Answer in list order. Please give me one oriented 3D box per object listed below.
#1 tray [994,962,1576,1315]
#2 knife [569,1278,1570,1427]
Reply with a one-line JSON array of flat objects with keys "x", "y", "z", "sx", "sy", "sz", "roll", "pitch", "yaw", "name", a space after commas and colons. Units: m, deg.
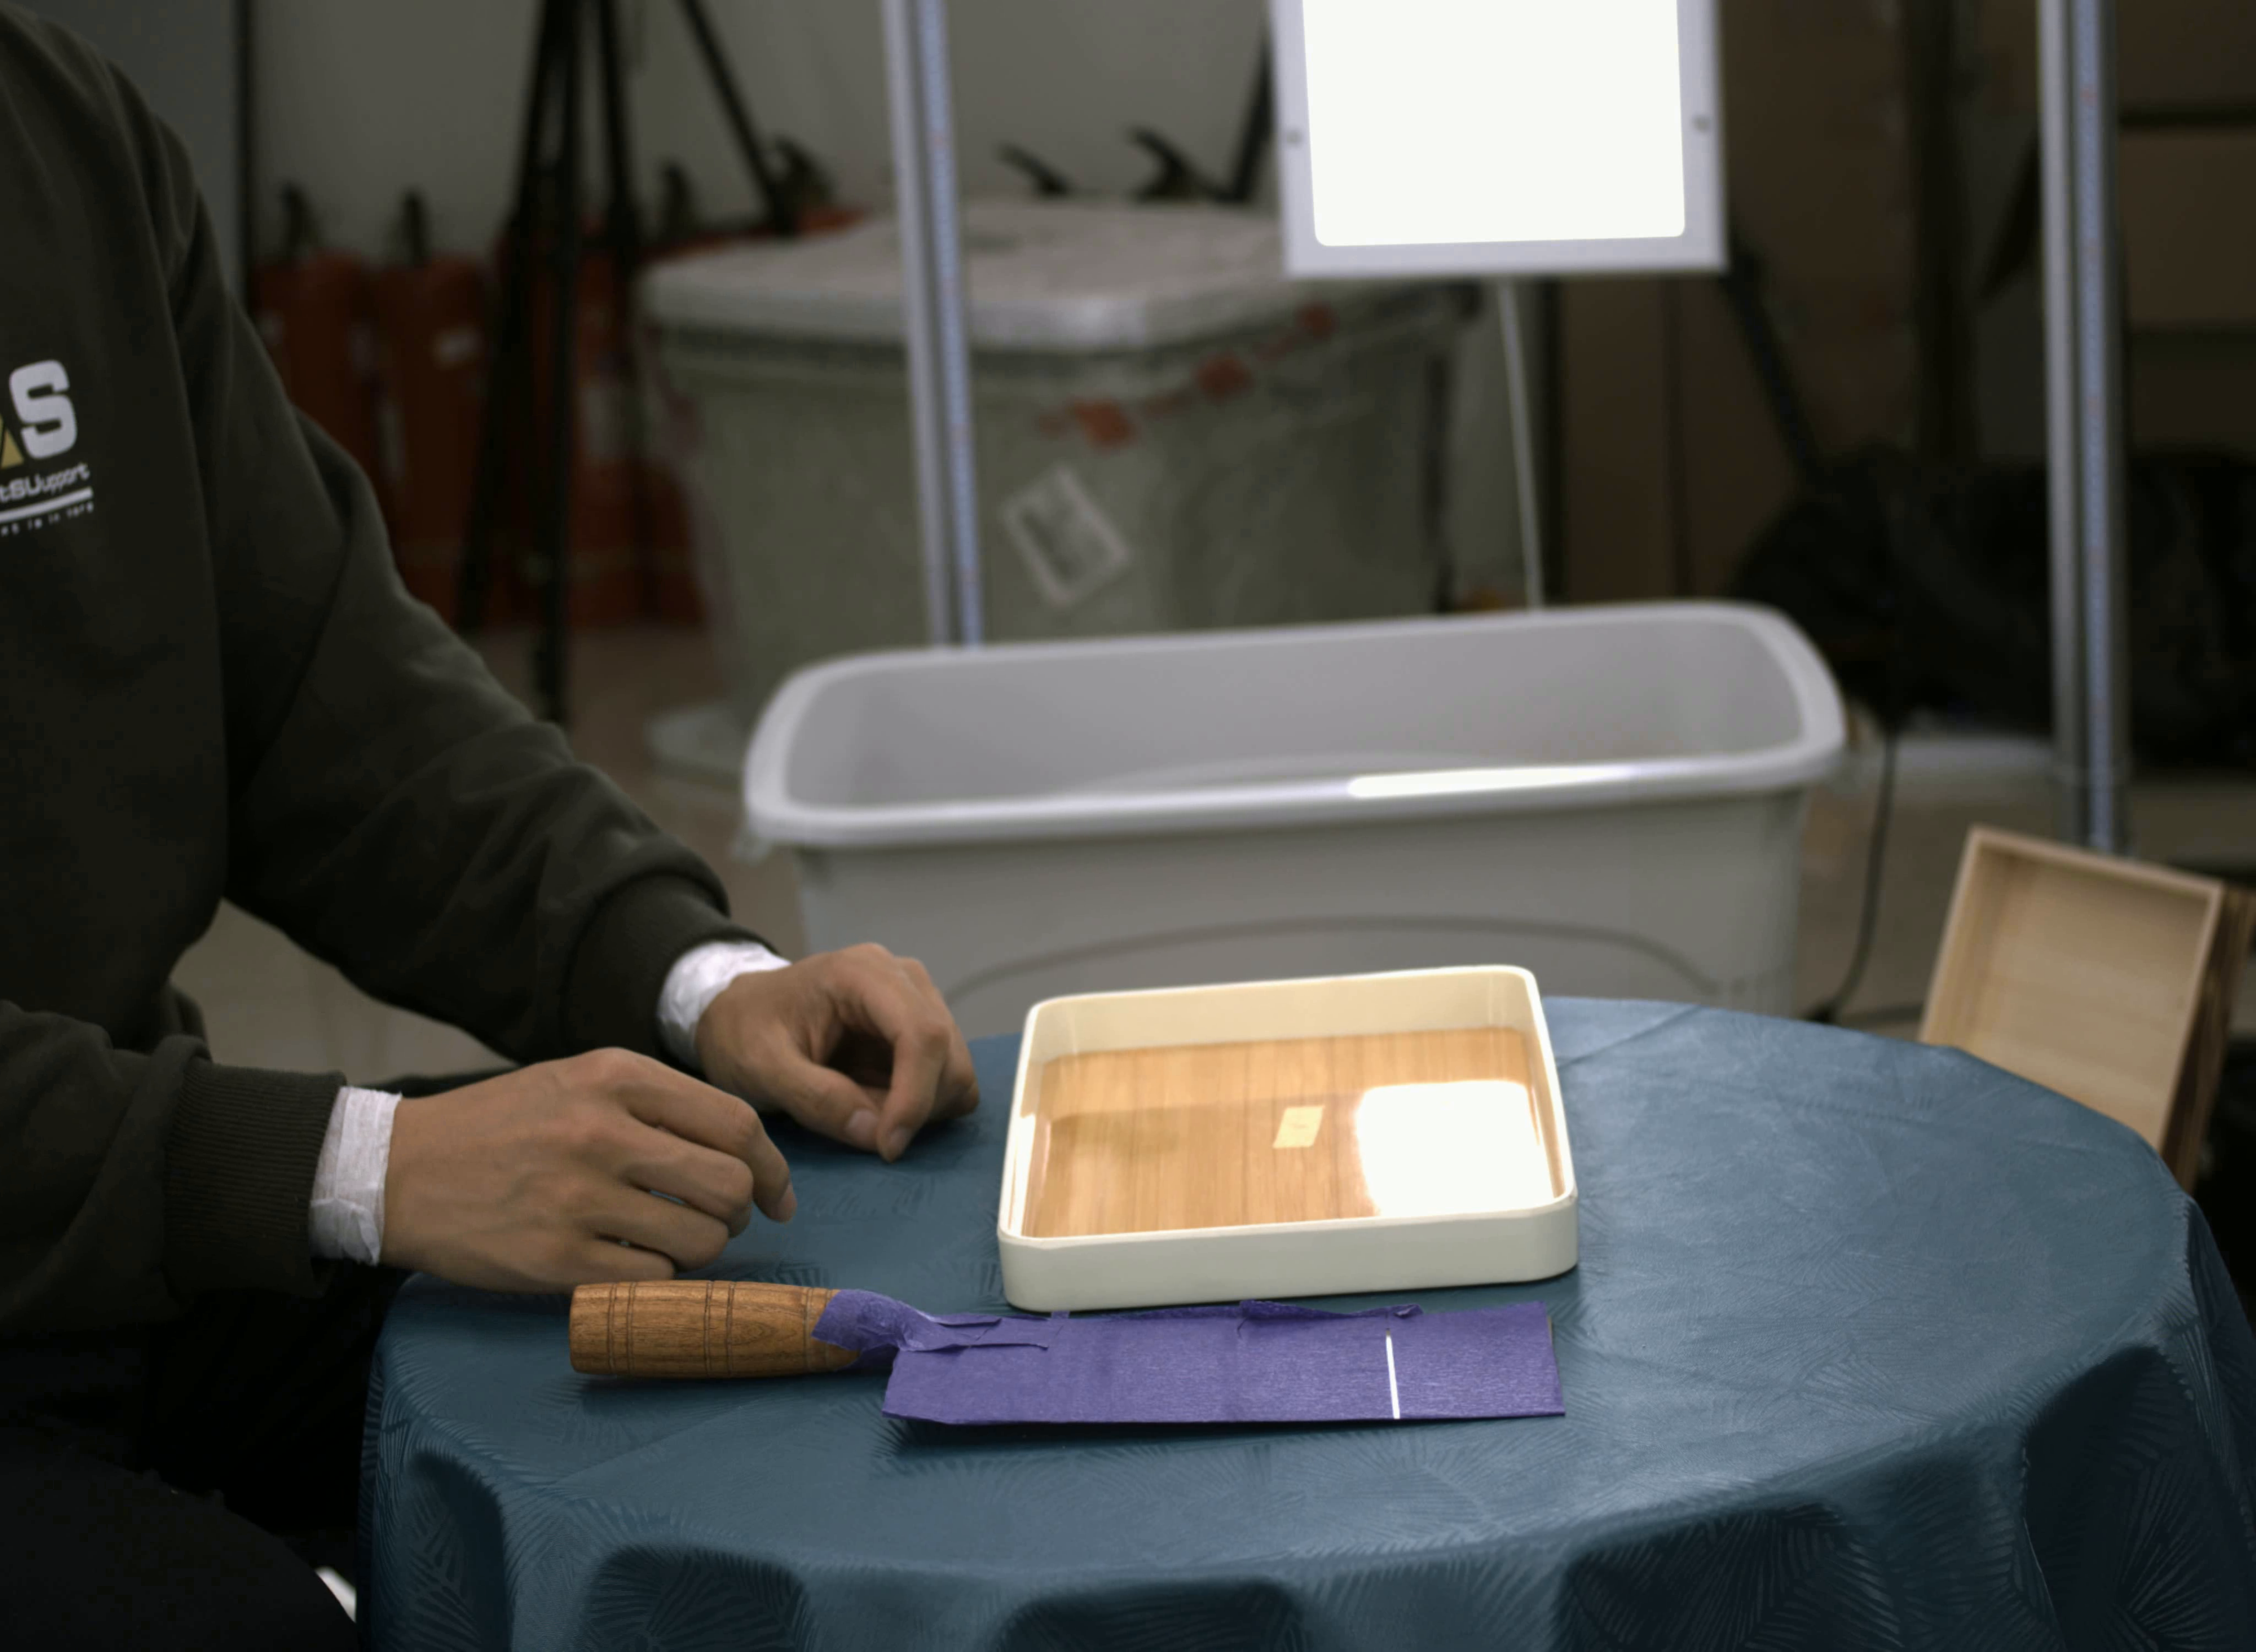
[{"x": 0.054, "y": 0.105, "z": 1.914, "sx": 0.192, "sy": 0.027, "sz": 0.299, "roll": -5, "pitch": 14, "yaw": 3, "name": "tray"}, {"x": -0.021, "y": 0.162, "z": 1.706, "sx": 0.315, "sy": 0.032, "sz": 0.103, "roll": -3, "pitch": 13, "yaw": 5, "name": "knife"}]
